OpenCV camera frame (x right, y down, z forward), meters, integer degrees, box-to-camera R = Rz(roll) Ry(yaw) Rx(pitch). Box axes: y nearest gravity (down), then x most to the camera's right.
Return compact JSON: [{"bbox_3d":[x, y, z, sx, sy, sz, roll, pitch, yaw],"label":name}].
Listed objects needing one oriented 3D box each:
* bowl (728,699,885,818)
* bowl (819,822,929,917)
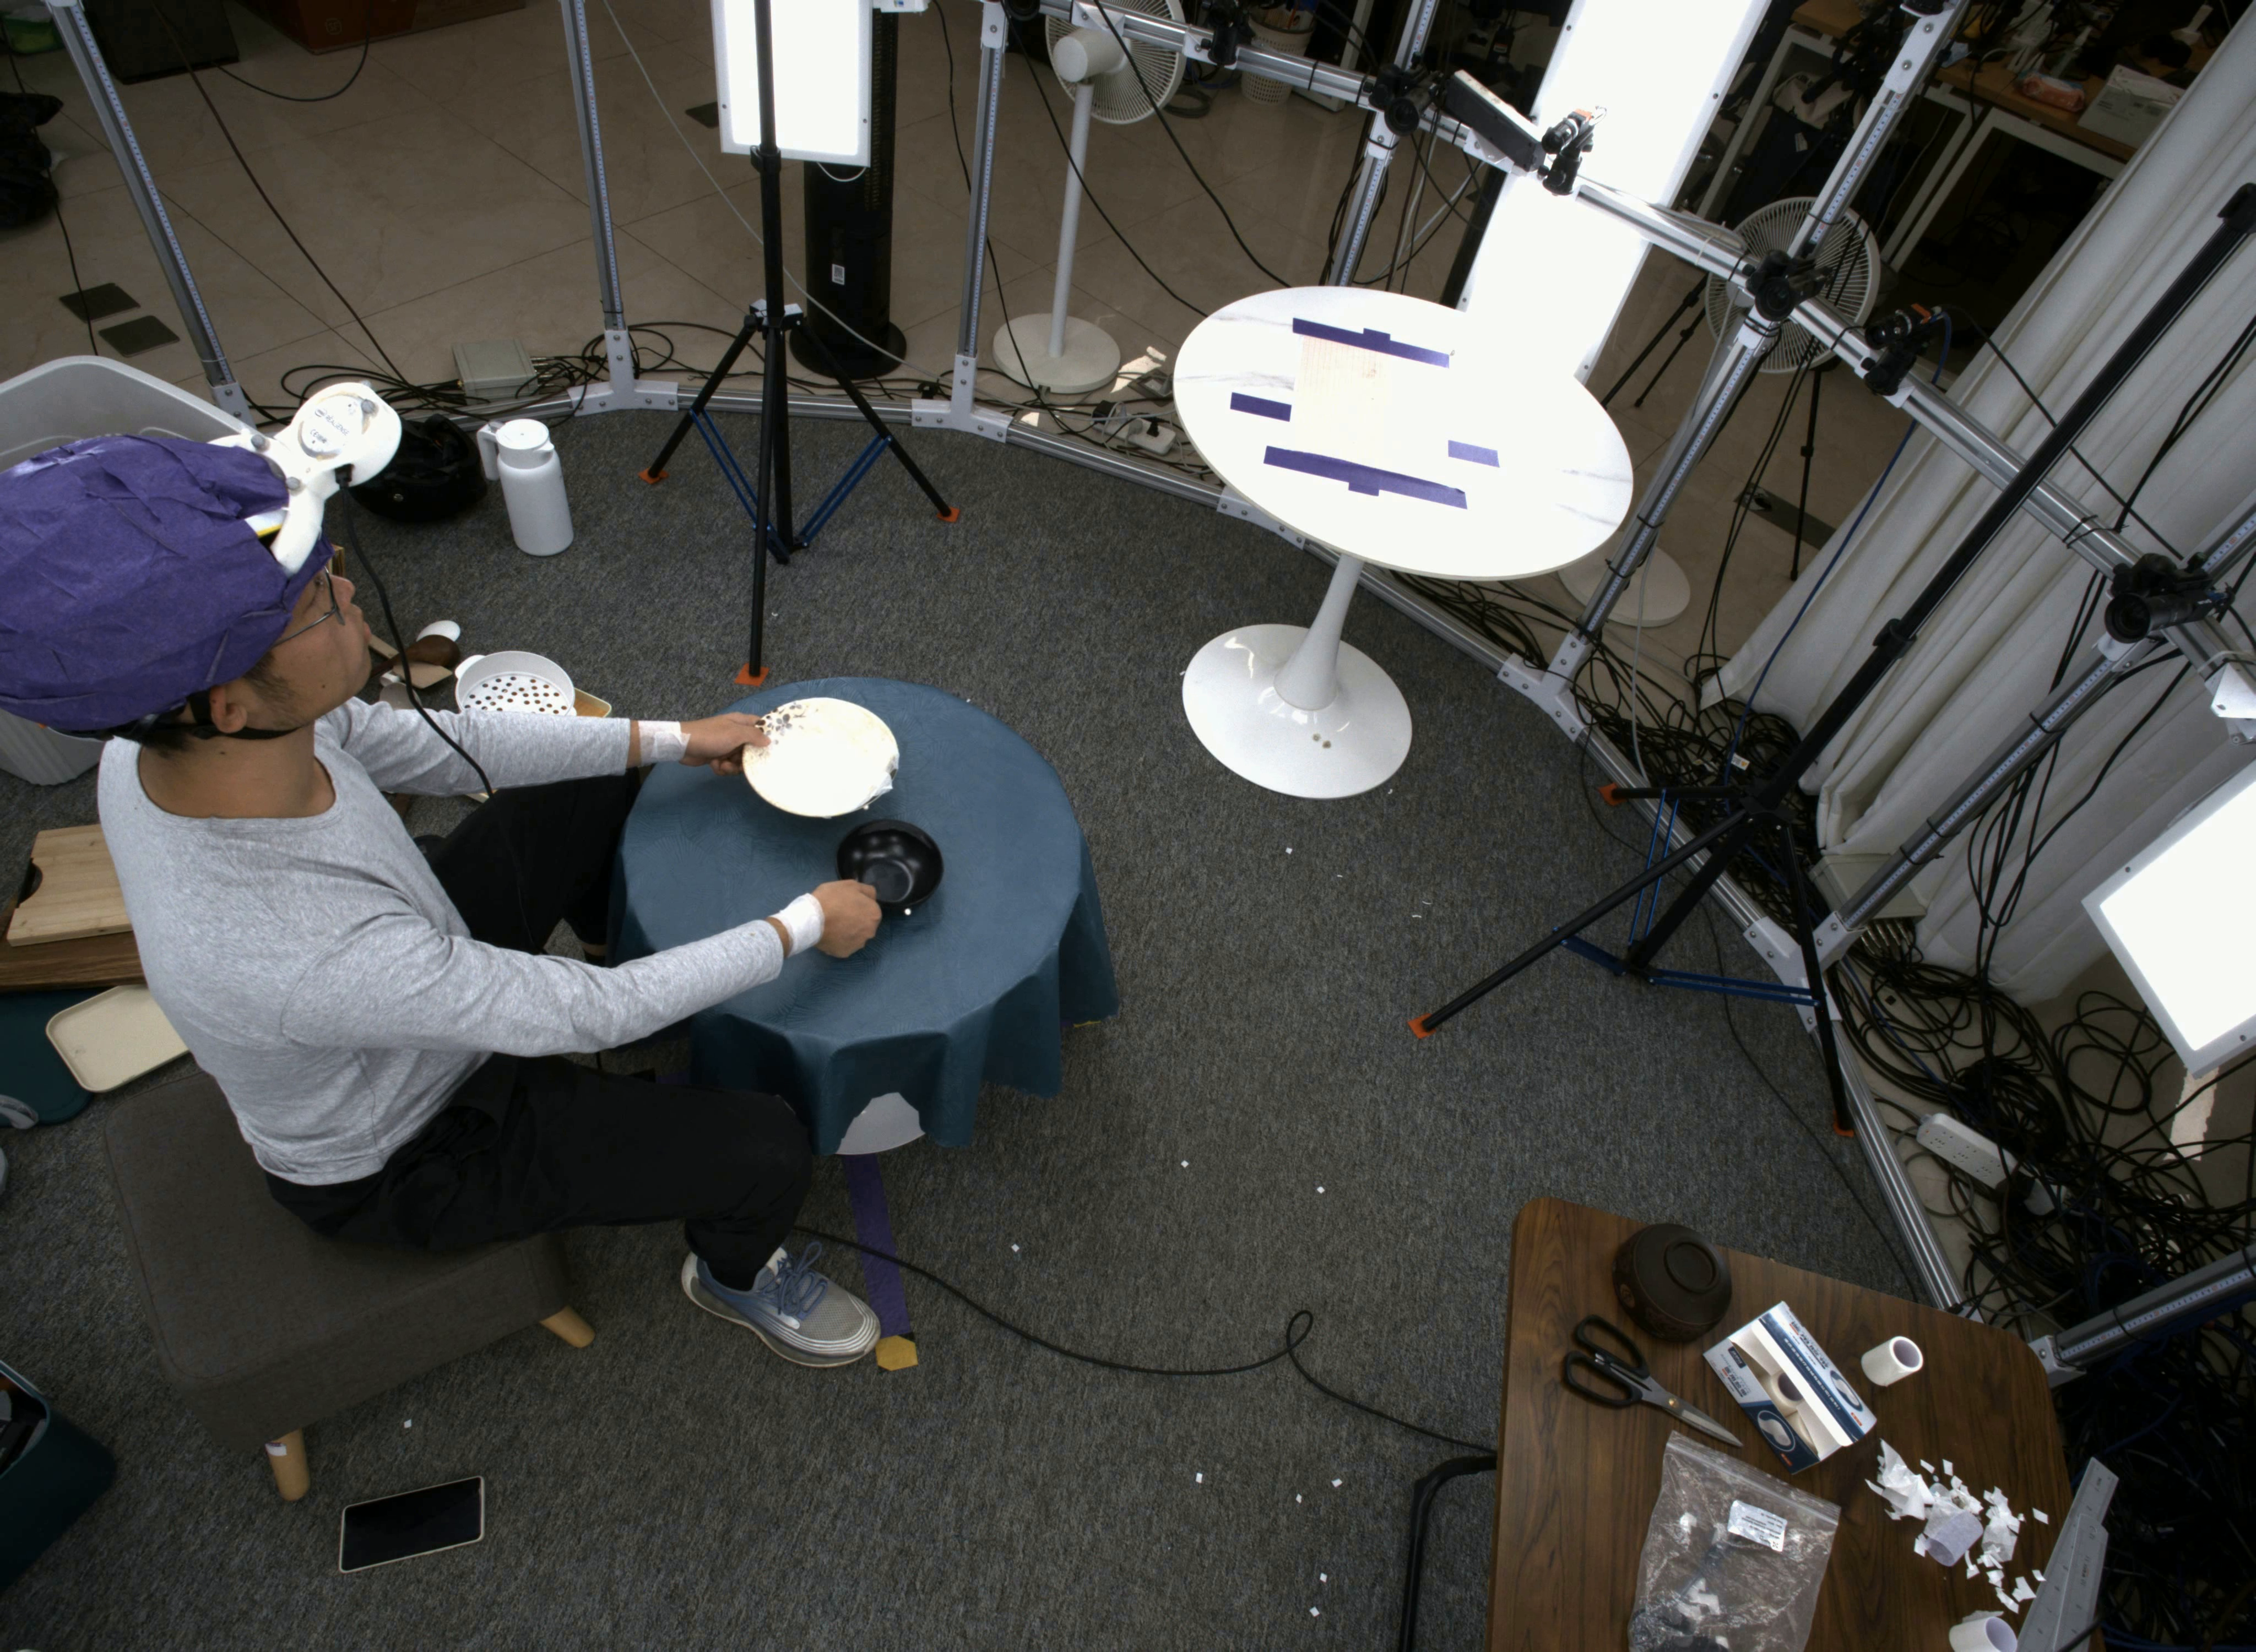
[{"bbox_3d":[-0.428,-0.070,1.735,0.203,0.079,0.200,7,52,-8],"label":"bowl"},{"bbox_3d":[-0.329,0.063,1.679,0.140,0.051,0.137,8,53,-9],"label":"bowl"}]
